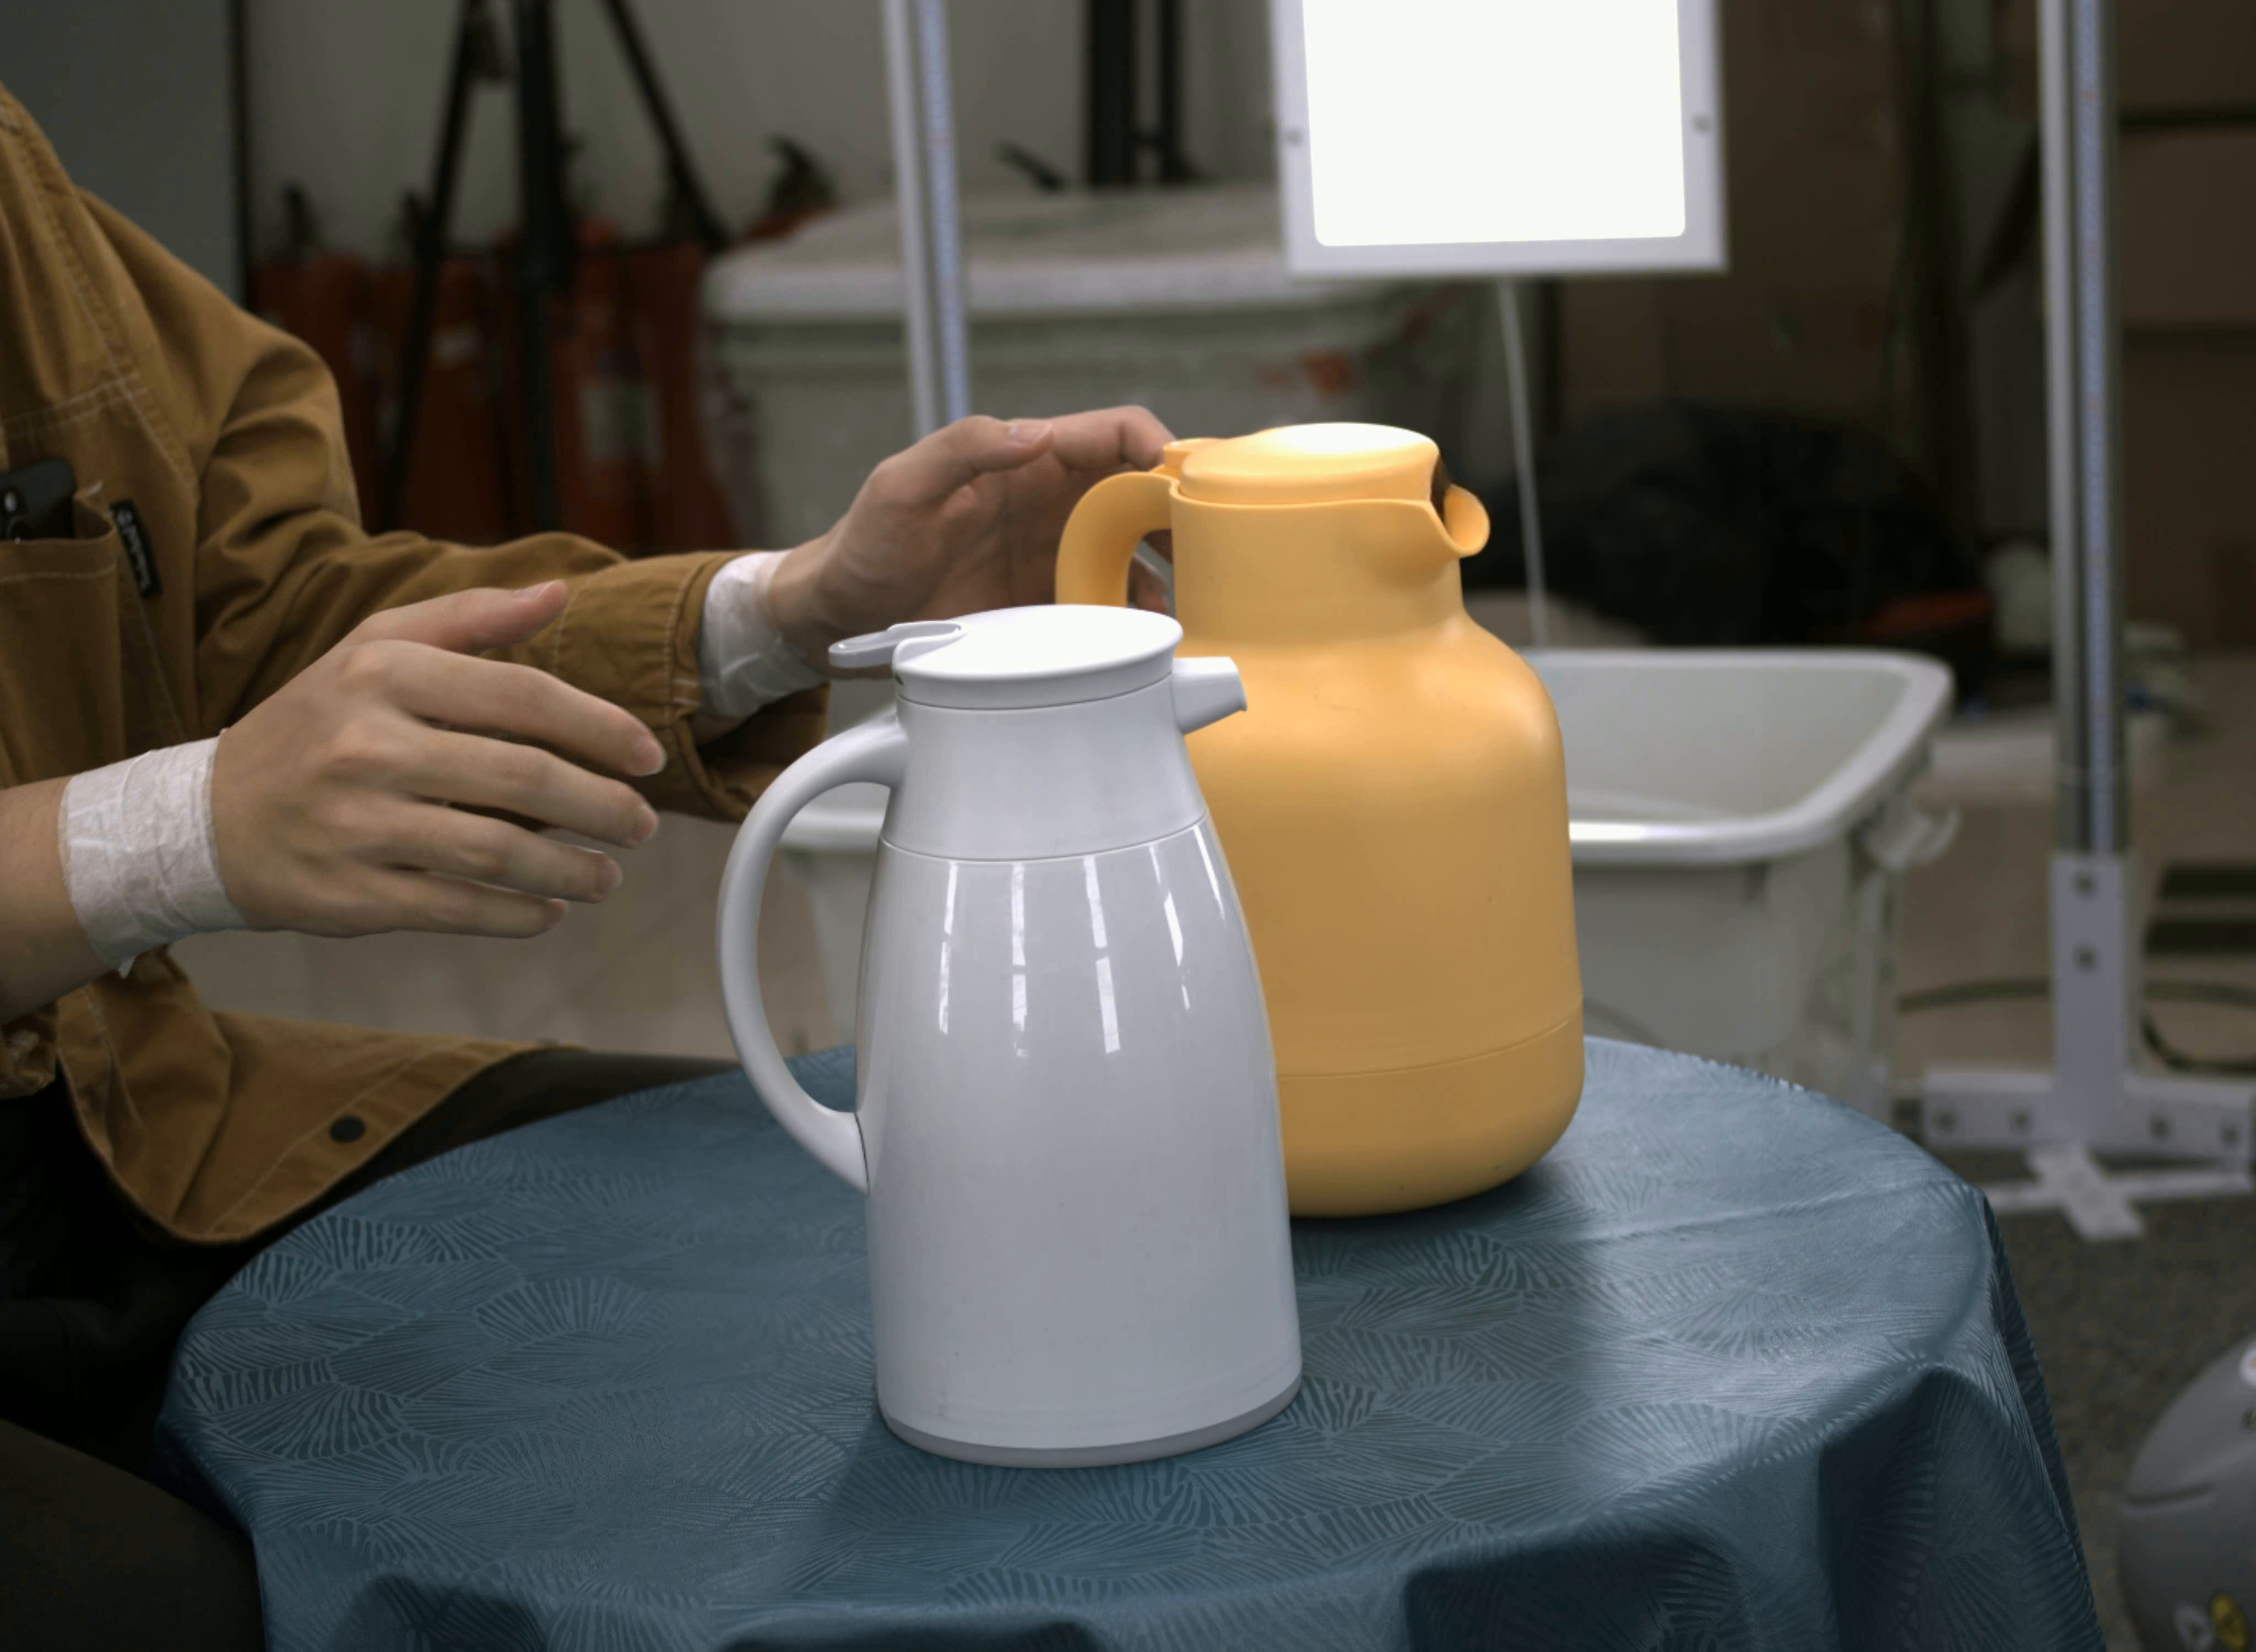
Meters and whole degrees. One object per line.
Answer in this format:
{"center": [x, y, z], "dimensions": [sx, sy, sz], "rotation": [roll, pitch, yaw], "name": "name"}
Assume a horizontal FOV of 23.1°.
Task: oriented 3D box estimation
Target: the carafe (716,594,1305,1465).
{"center": [-0.039, 0.057, 1.670], "dimensions": [0.167, 0.249, 0.133], "rotation": [-6, 14, -4], "name": "carafe"}

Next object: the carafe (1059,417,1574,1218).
{"center": [0.057, -0.010, 1.884], "dimensions": [0.159, 0.261, 0.206], "rotation": [-13, 18, -38], "name": "carafe"}
